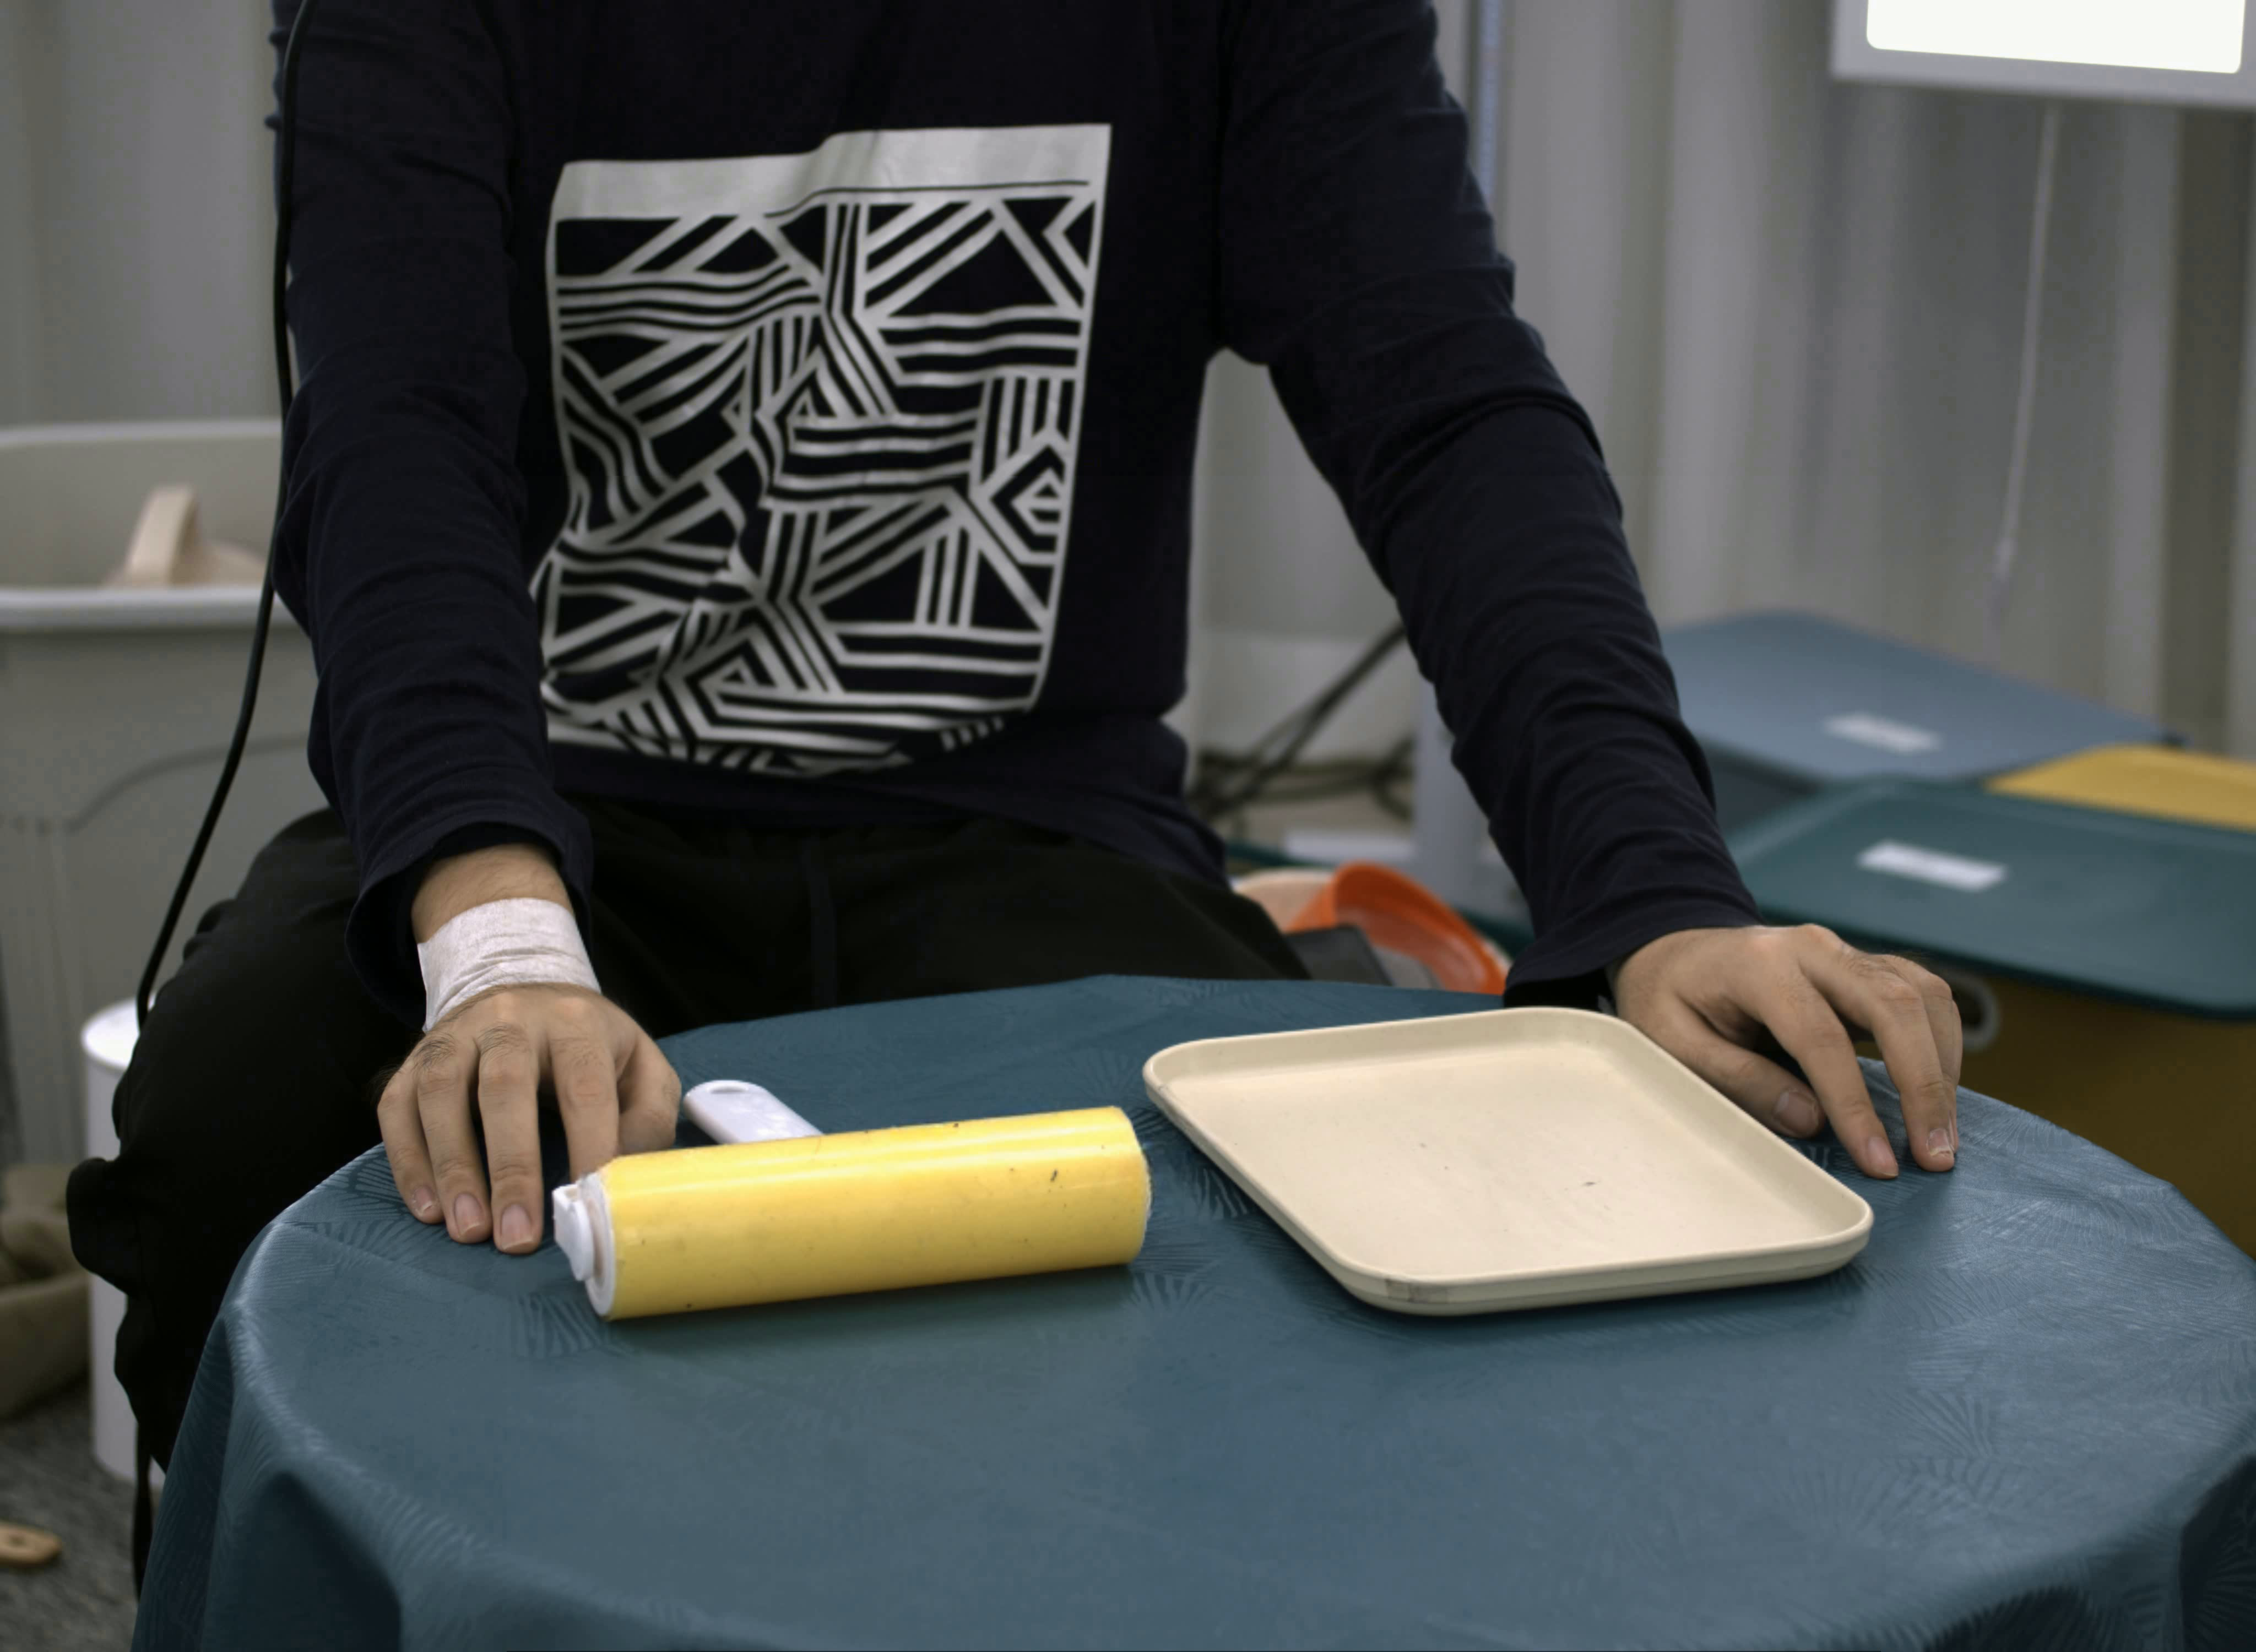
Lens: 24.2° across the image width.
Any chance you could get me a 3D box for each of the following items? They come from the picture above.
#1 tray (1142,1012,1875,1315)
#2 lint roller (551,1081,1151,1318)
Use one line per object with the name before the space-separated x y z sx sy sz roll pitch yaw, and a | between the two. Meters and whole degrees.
tray | 0.113 0.103 1.631 0.171 0.017 0.237 -4 16 -18
lint roller | -0.103 0.094 1.596 0.175 0.052 0.190 -4 19 -20
